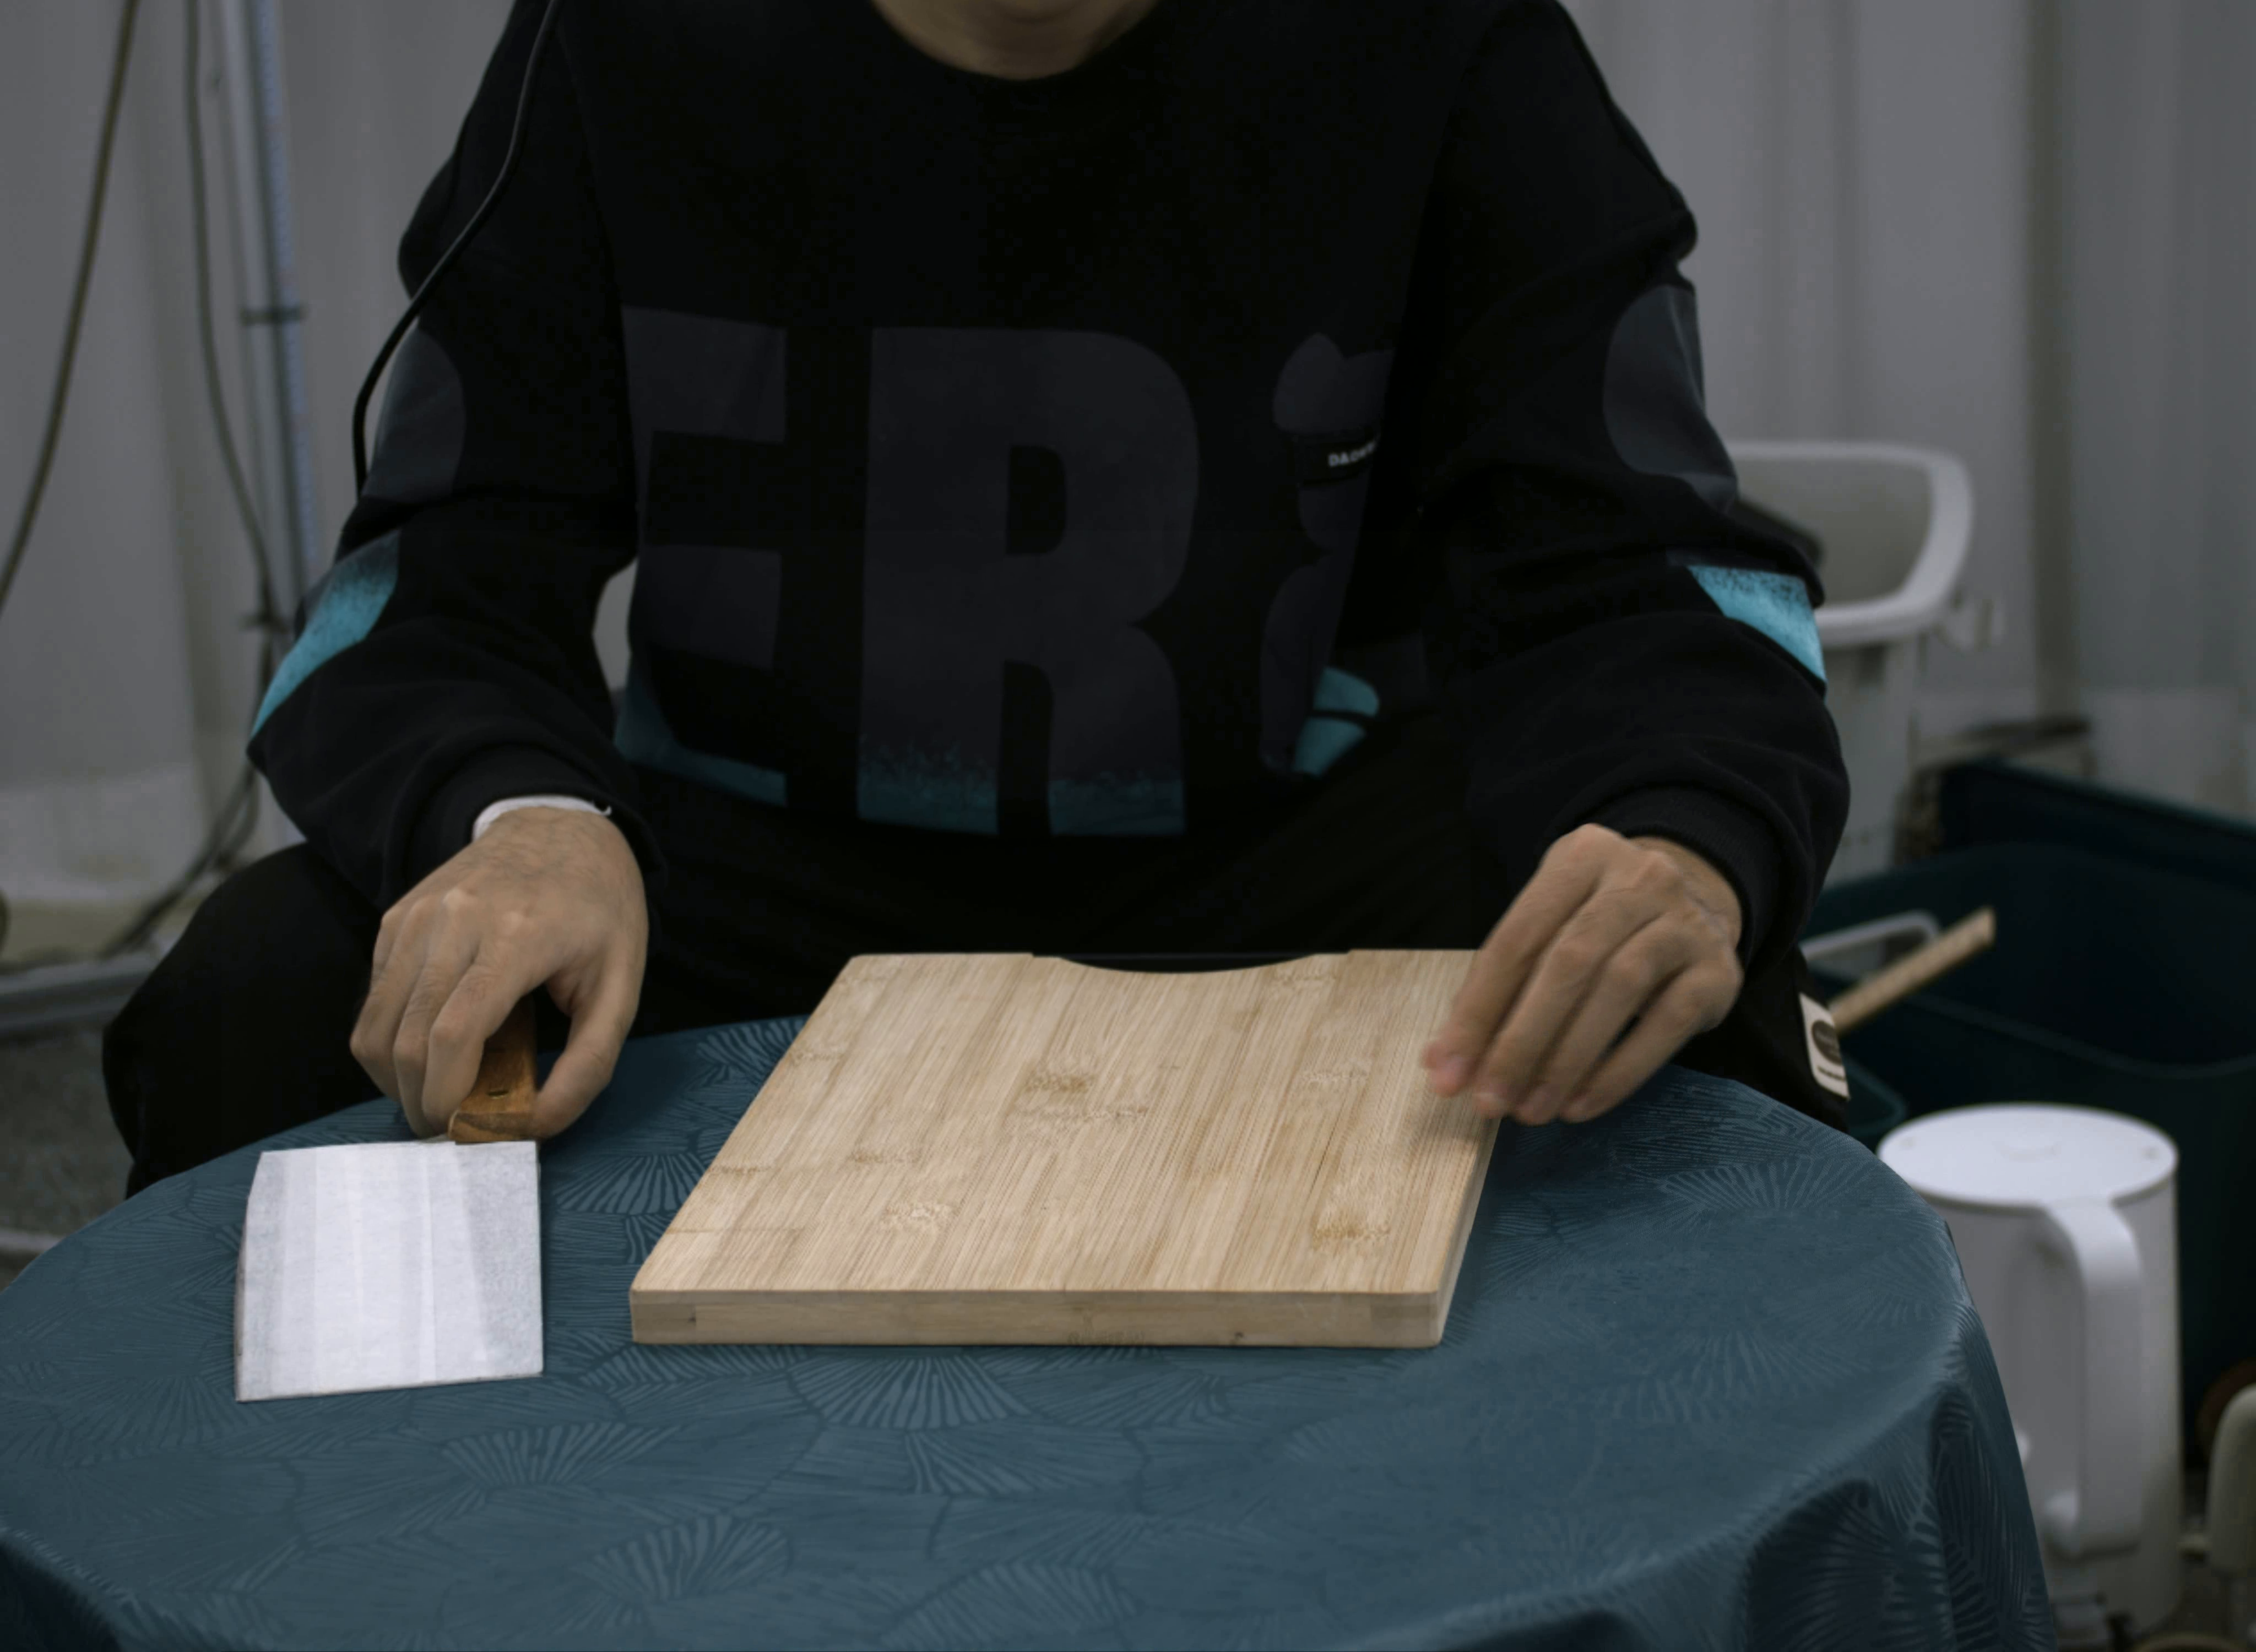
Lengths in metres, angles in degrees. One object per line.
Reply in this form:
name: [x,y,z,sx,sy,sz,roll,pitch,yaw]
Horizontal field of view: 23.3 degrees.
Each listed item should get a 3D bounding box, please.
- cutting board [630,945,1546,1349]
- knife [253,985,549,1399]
cutting board: [-0.001,0.097,1.749,0.250,0.023,0.350,-1,15,8]
knife: [-0.228,0.113,1.721,0.092,0.021,0.308,-5,19,-5]
